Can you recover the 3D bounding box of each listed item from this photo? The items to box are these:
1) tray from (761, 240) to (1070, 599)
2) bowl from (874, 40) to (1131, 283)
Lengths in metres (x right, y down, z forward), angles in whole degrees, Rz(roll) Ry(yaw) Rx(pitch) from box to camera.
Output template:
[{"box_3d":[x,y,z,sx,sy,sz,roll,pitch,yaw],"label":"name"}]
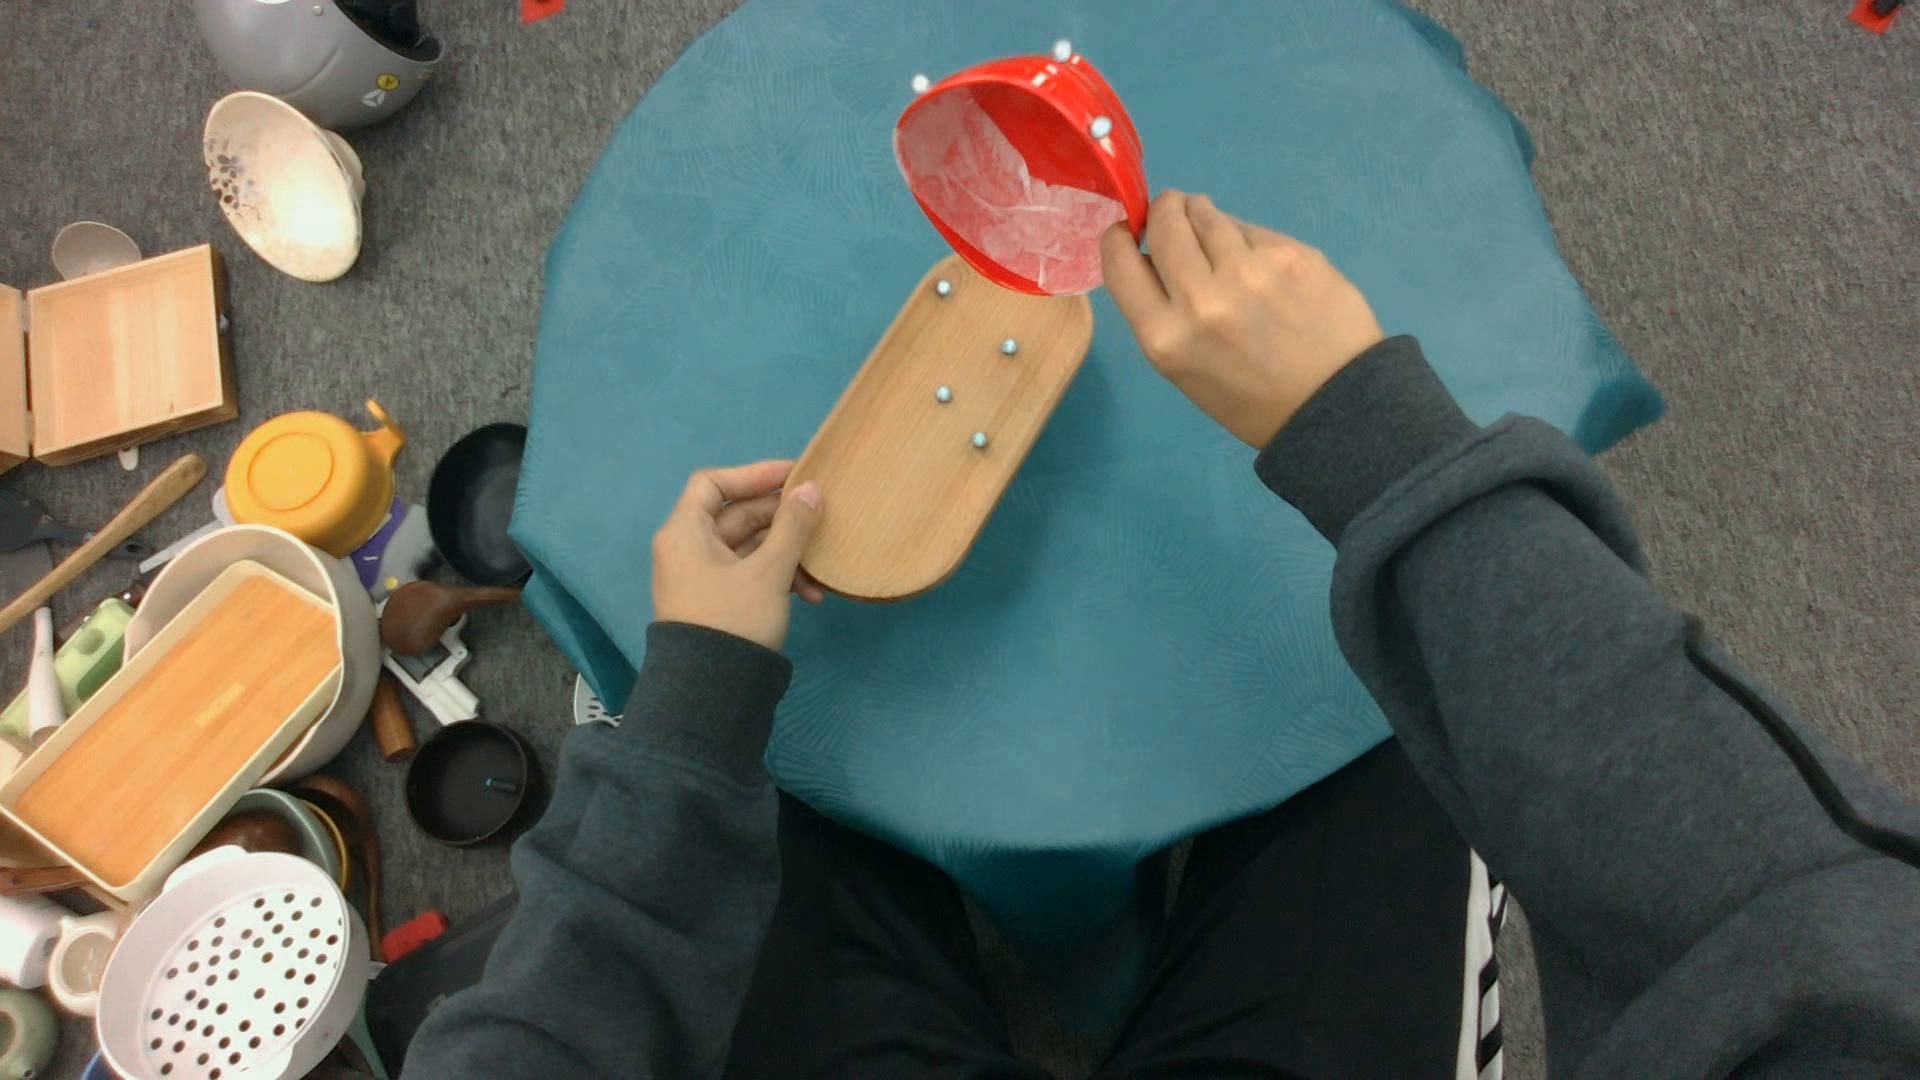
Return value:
[{"box_3d":[-0.020,-0.069,0.719,0.101,0.020,0.232,23,66,12],"label":"tray"},{"box_3d":[0.026,-0.171,0.599,0.119,0.118,0.051,26,59,12],"label":"bowl"}]
